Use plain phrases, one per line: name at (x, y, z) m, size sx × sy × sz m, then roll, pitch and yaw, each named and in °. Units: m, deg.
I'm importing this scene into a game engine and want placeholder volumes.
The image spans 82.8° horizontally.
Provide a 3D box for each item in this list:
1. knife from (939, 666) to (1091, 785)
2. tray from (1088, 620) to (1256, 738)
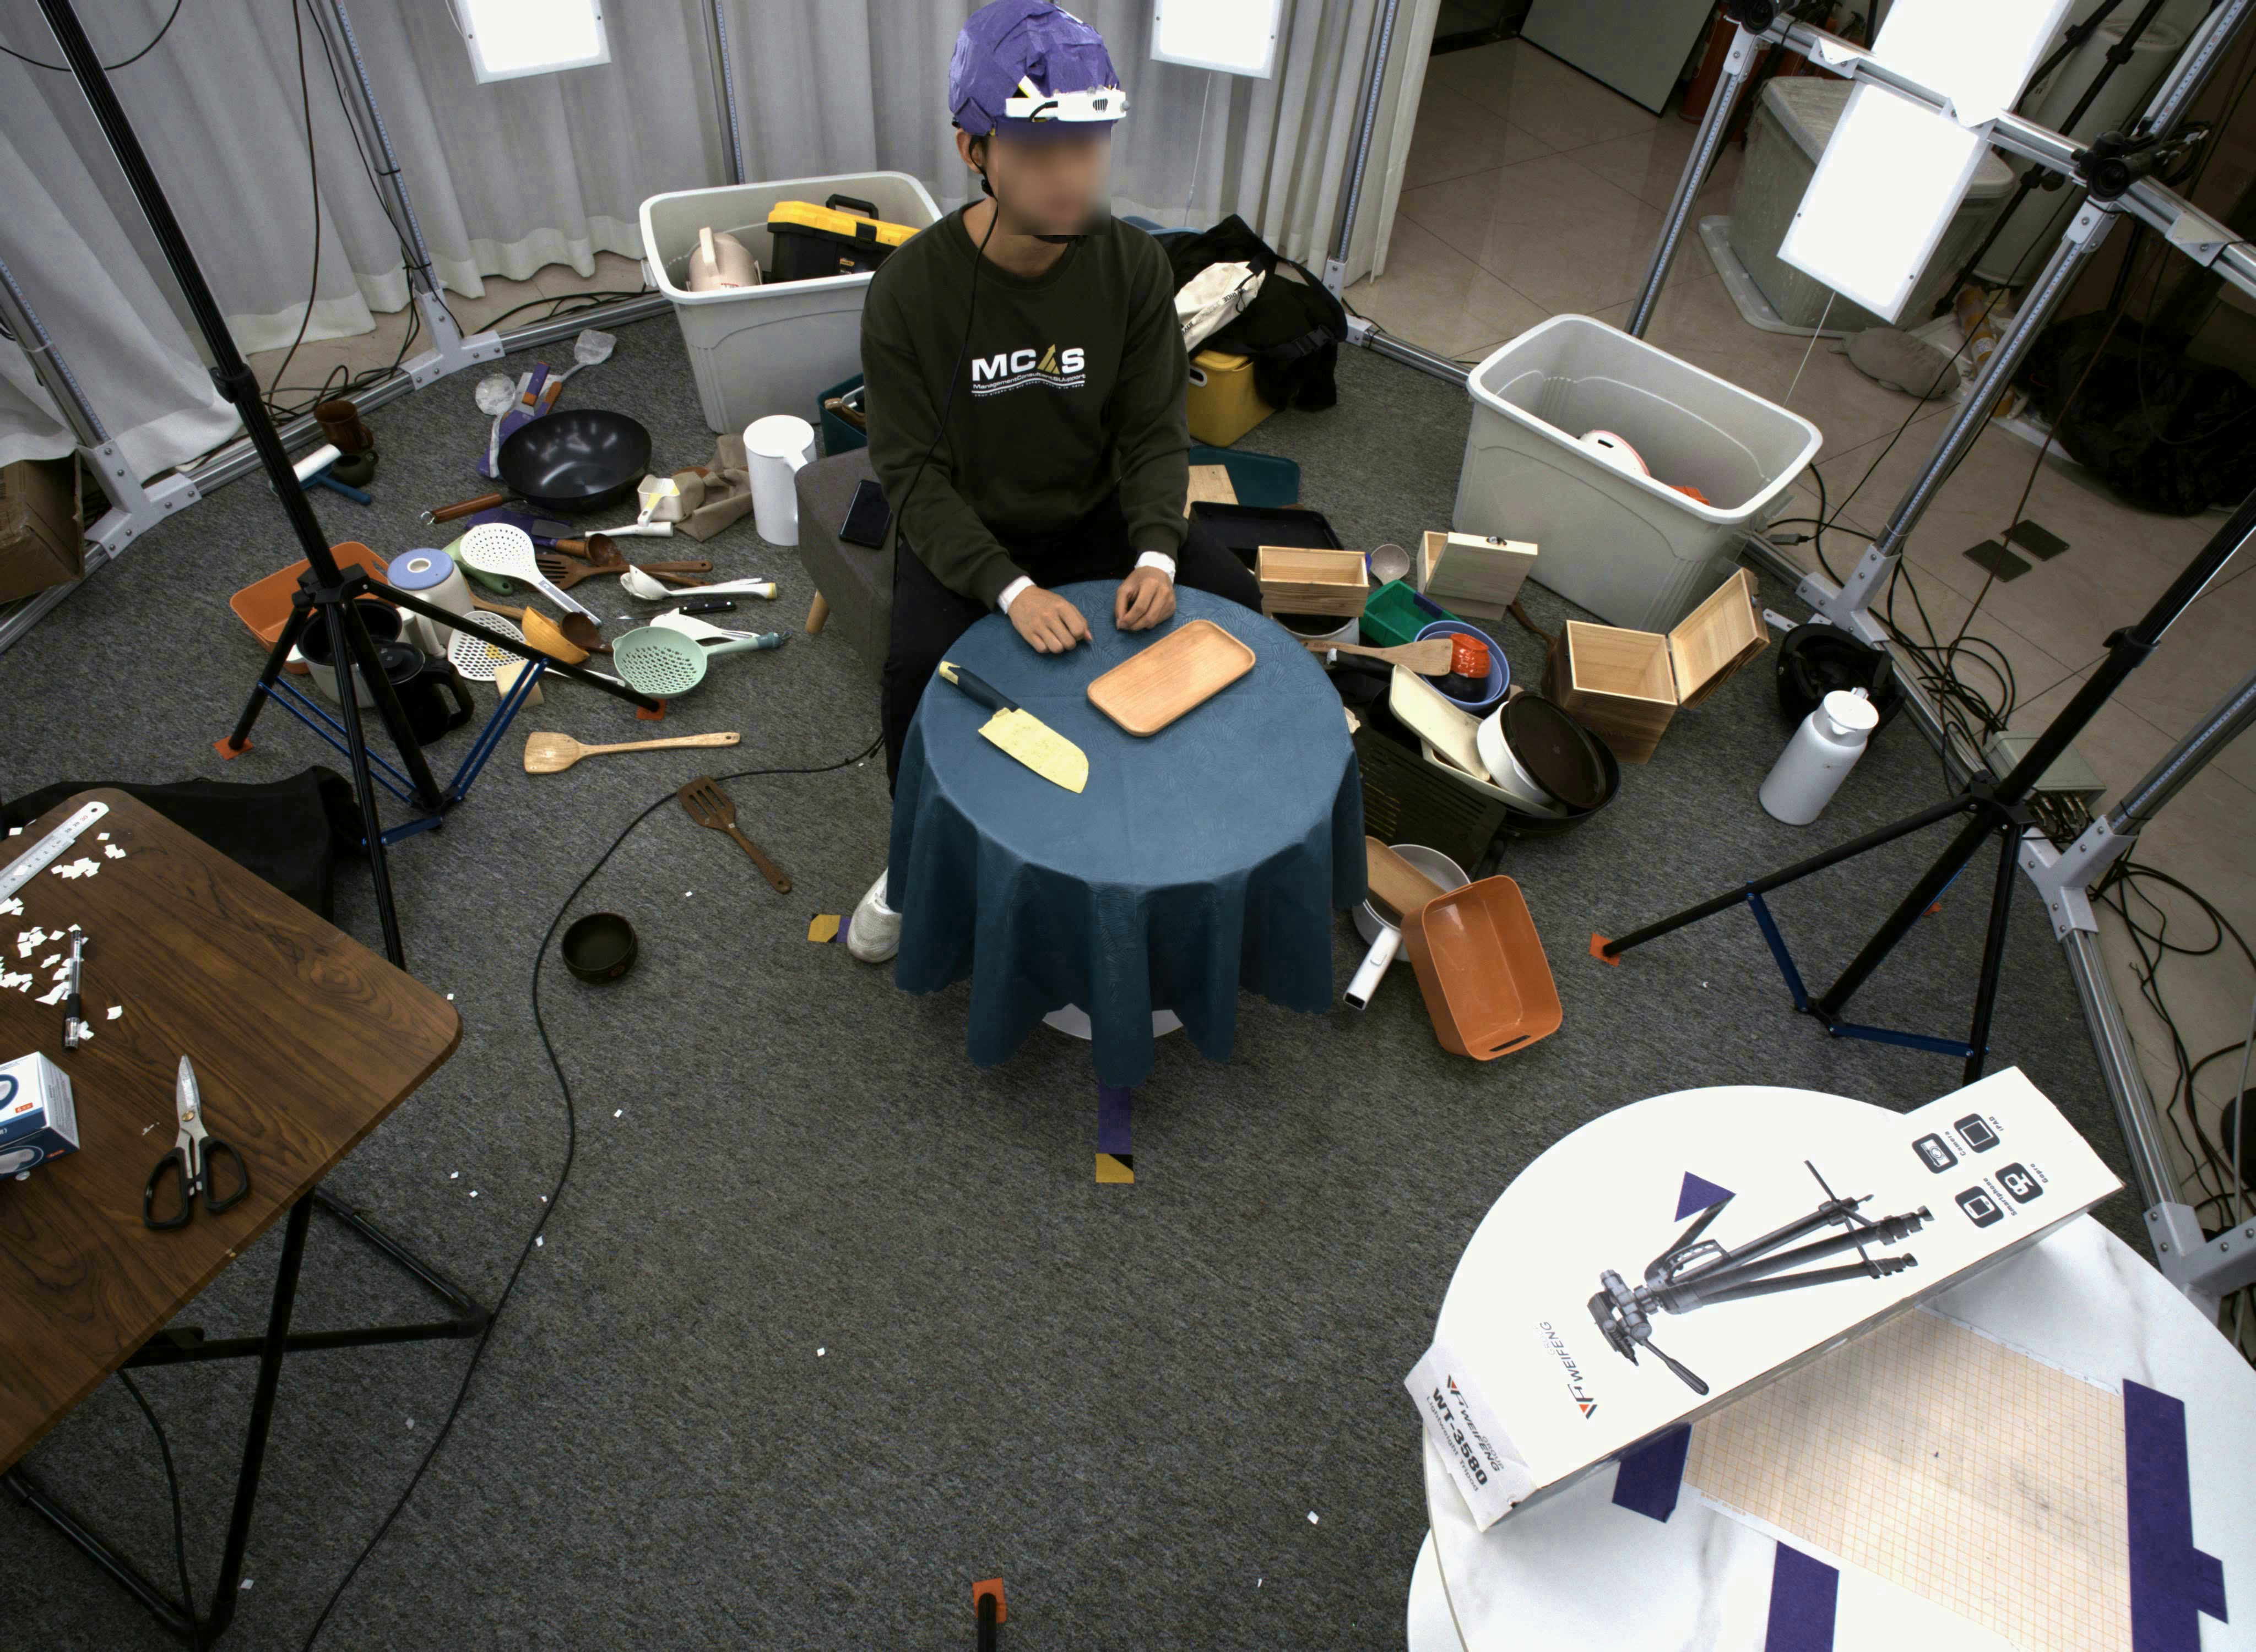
knife at (-0.163, -0.137, 1.766) m, size 0.293 × 0.026 × 0.082 m, roll 36°, pitch 54°, yaw 23°
tray at (0.065, -0.214, 1.847) m, size 0.253 × 0.022 × 0.132 m, roll -35°, pitch 57°, yaw -28°
